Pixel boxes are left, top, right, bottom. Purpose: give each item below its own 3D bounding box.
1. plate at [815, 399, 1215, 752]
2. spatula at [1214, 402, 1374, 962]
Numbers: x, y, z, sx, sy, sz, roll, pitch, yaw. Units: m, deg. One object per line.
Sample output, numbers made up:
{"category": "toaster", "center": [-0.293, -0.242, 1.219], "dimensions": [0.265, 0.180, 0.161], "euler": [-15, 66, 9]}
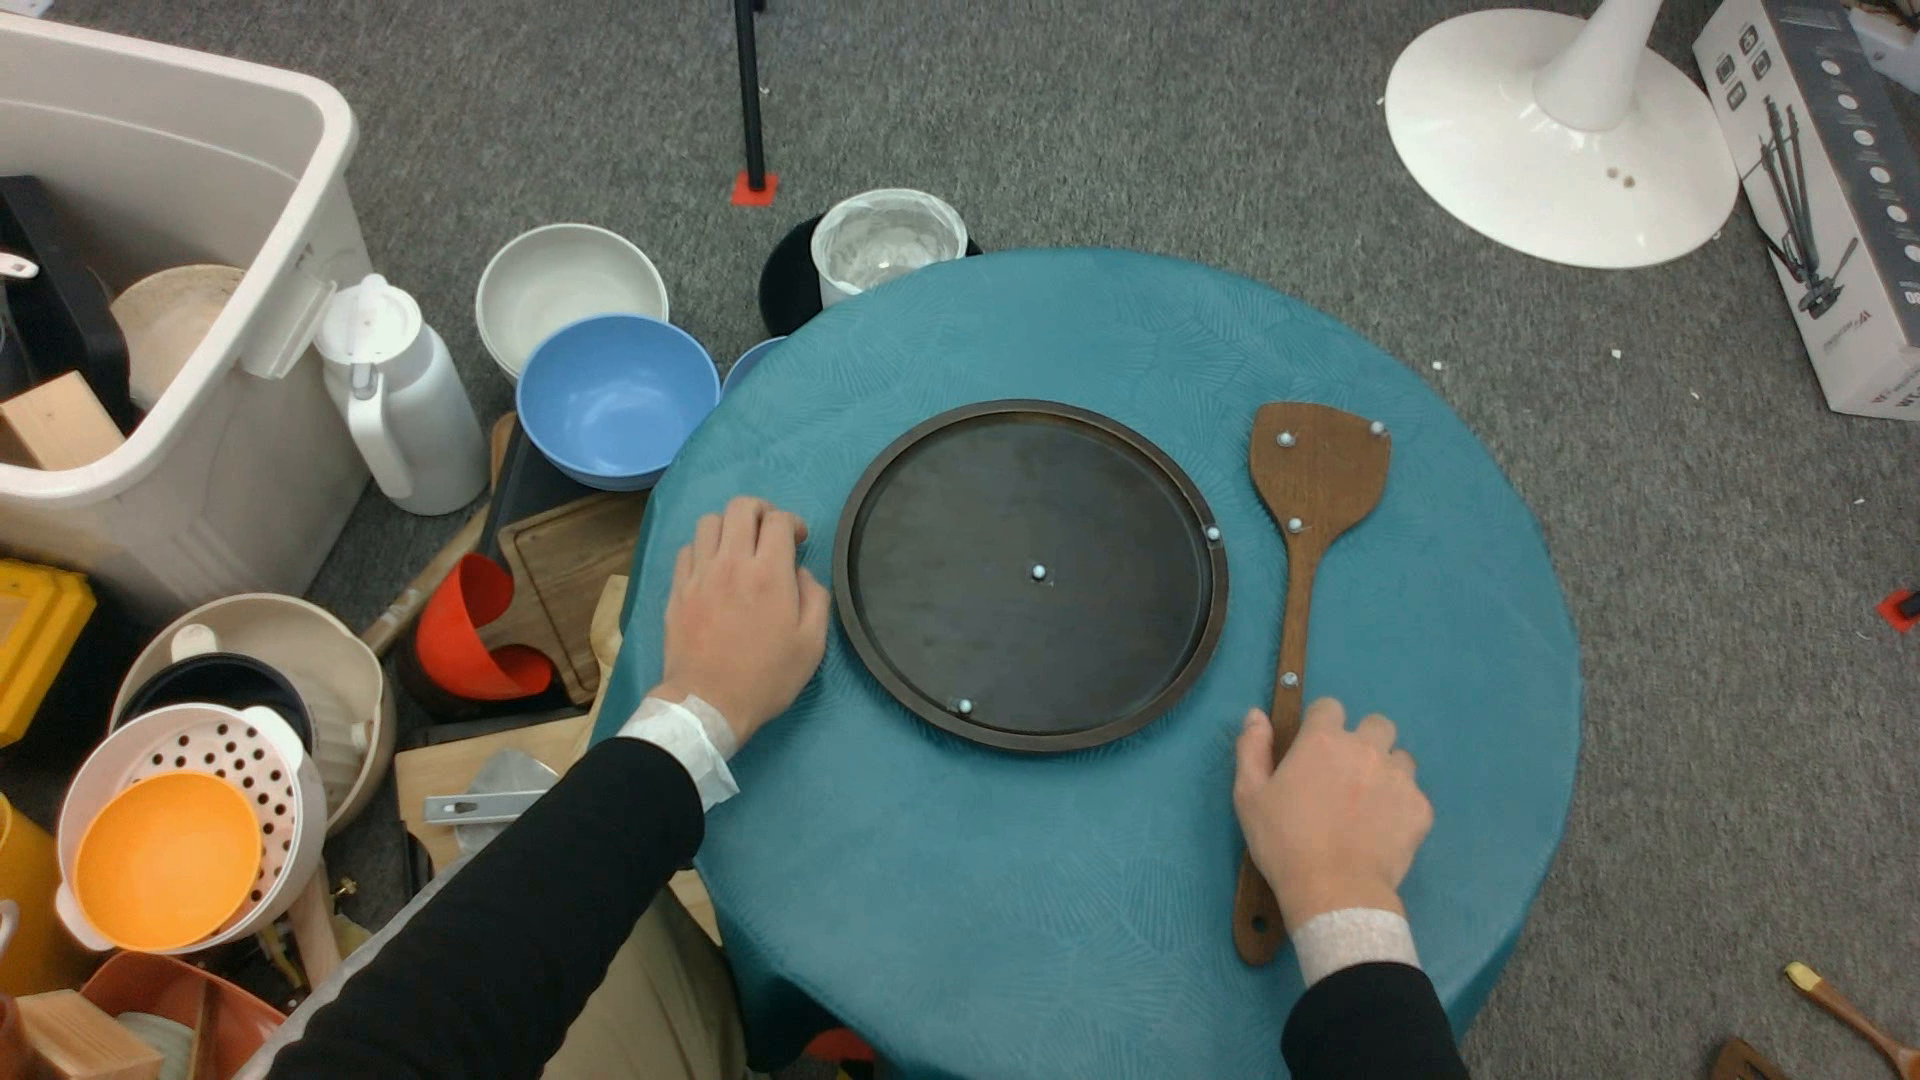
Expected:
{"category": "plate", "center": [0.035, 0.017, 0.873], "dimensions": [0.255, 0.029, 0.256], "euler": [3, 59, -4]}
{"category": "spatula", "center": [0.198, 0.071, 0.861], "dimensions": [0.096, 0.016, 0.387], "euler": [13, 60, 3]}
